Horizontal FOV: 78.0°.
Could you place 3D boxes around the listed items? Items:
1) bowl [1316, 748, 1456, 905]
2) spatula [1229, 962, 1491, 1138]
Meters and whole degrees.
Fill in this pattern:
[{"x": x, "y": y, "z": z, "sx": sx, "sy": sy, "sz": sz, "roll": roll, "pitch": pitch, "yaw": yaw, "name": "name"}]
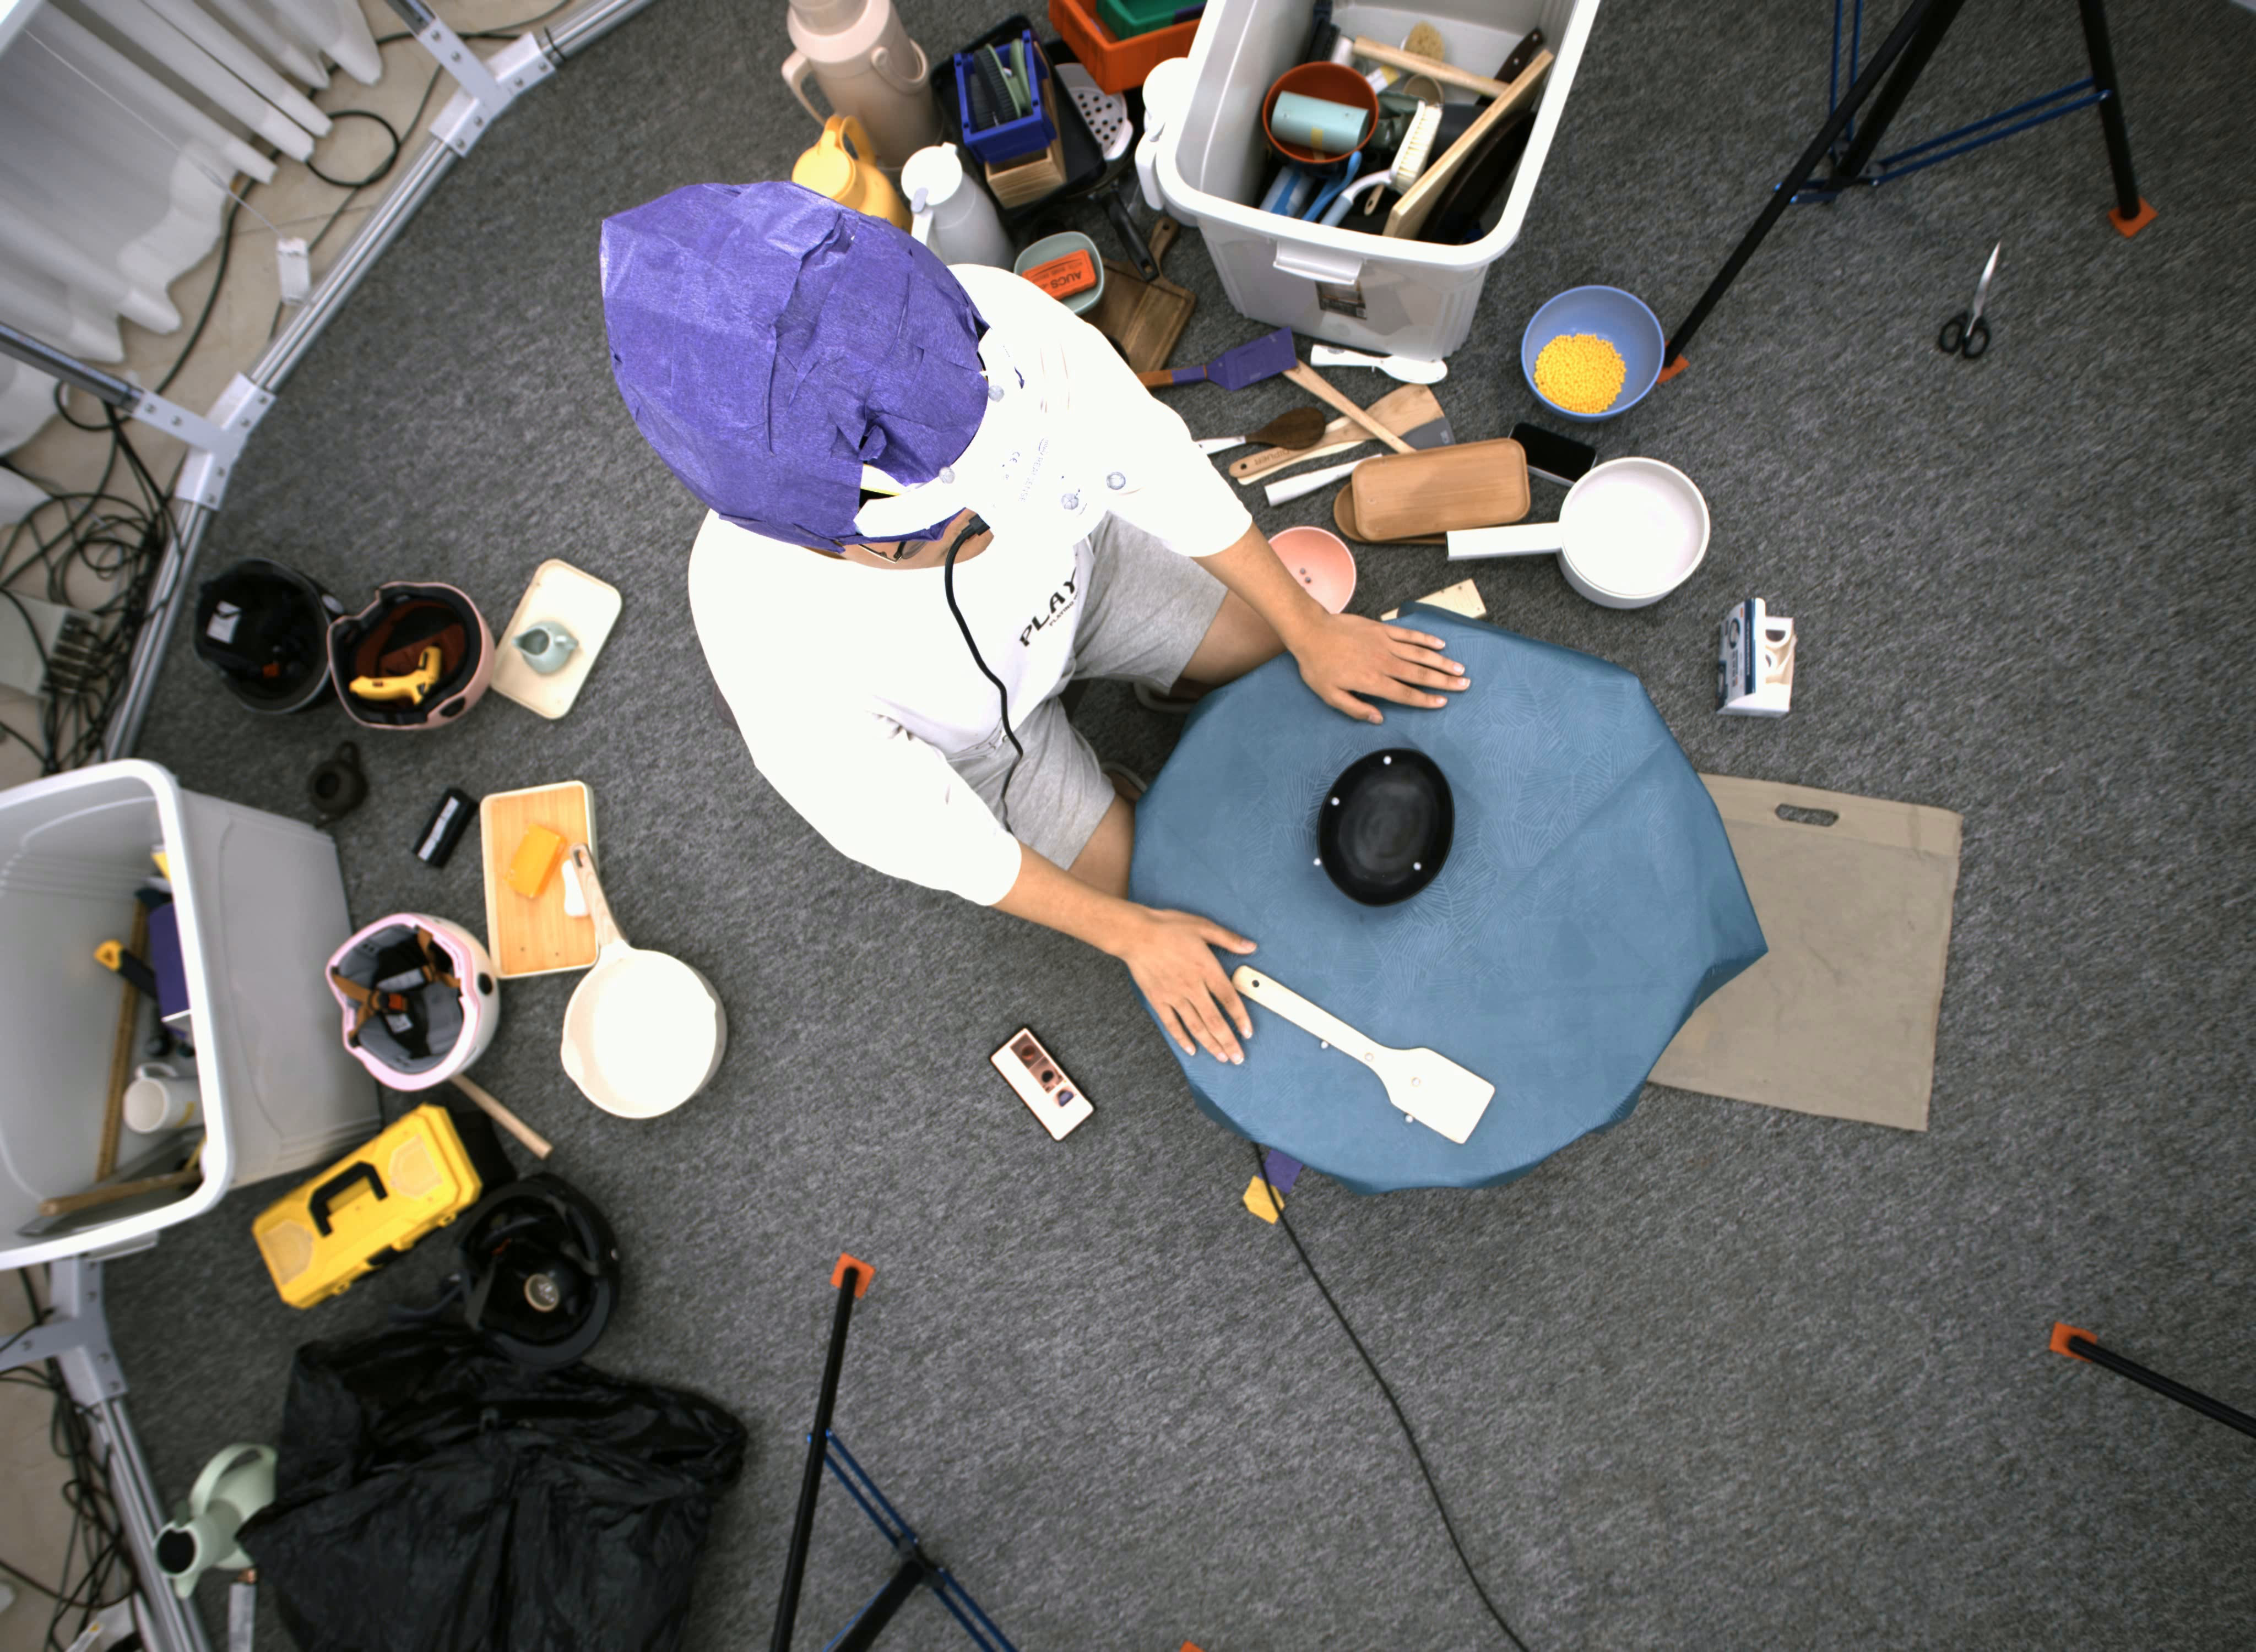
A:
[{"x": 0.268, "y": 0.000, "z": 1.432, "sx": 0.137, "sy": 0.067, "sz": 0.170, "roll": 18, "pitch": 88, "yaw": 12, "name": "bowl"}, {"x": 0.235, "y": 0.224, "z": 1.452, "sx": 0.292, "sy": 0.010, "sz": 0.072, "roll": 29, "pitch": 94, "yaw": 11, "name": "spatula"}]
